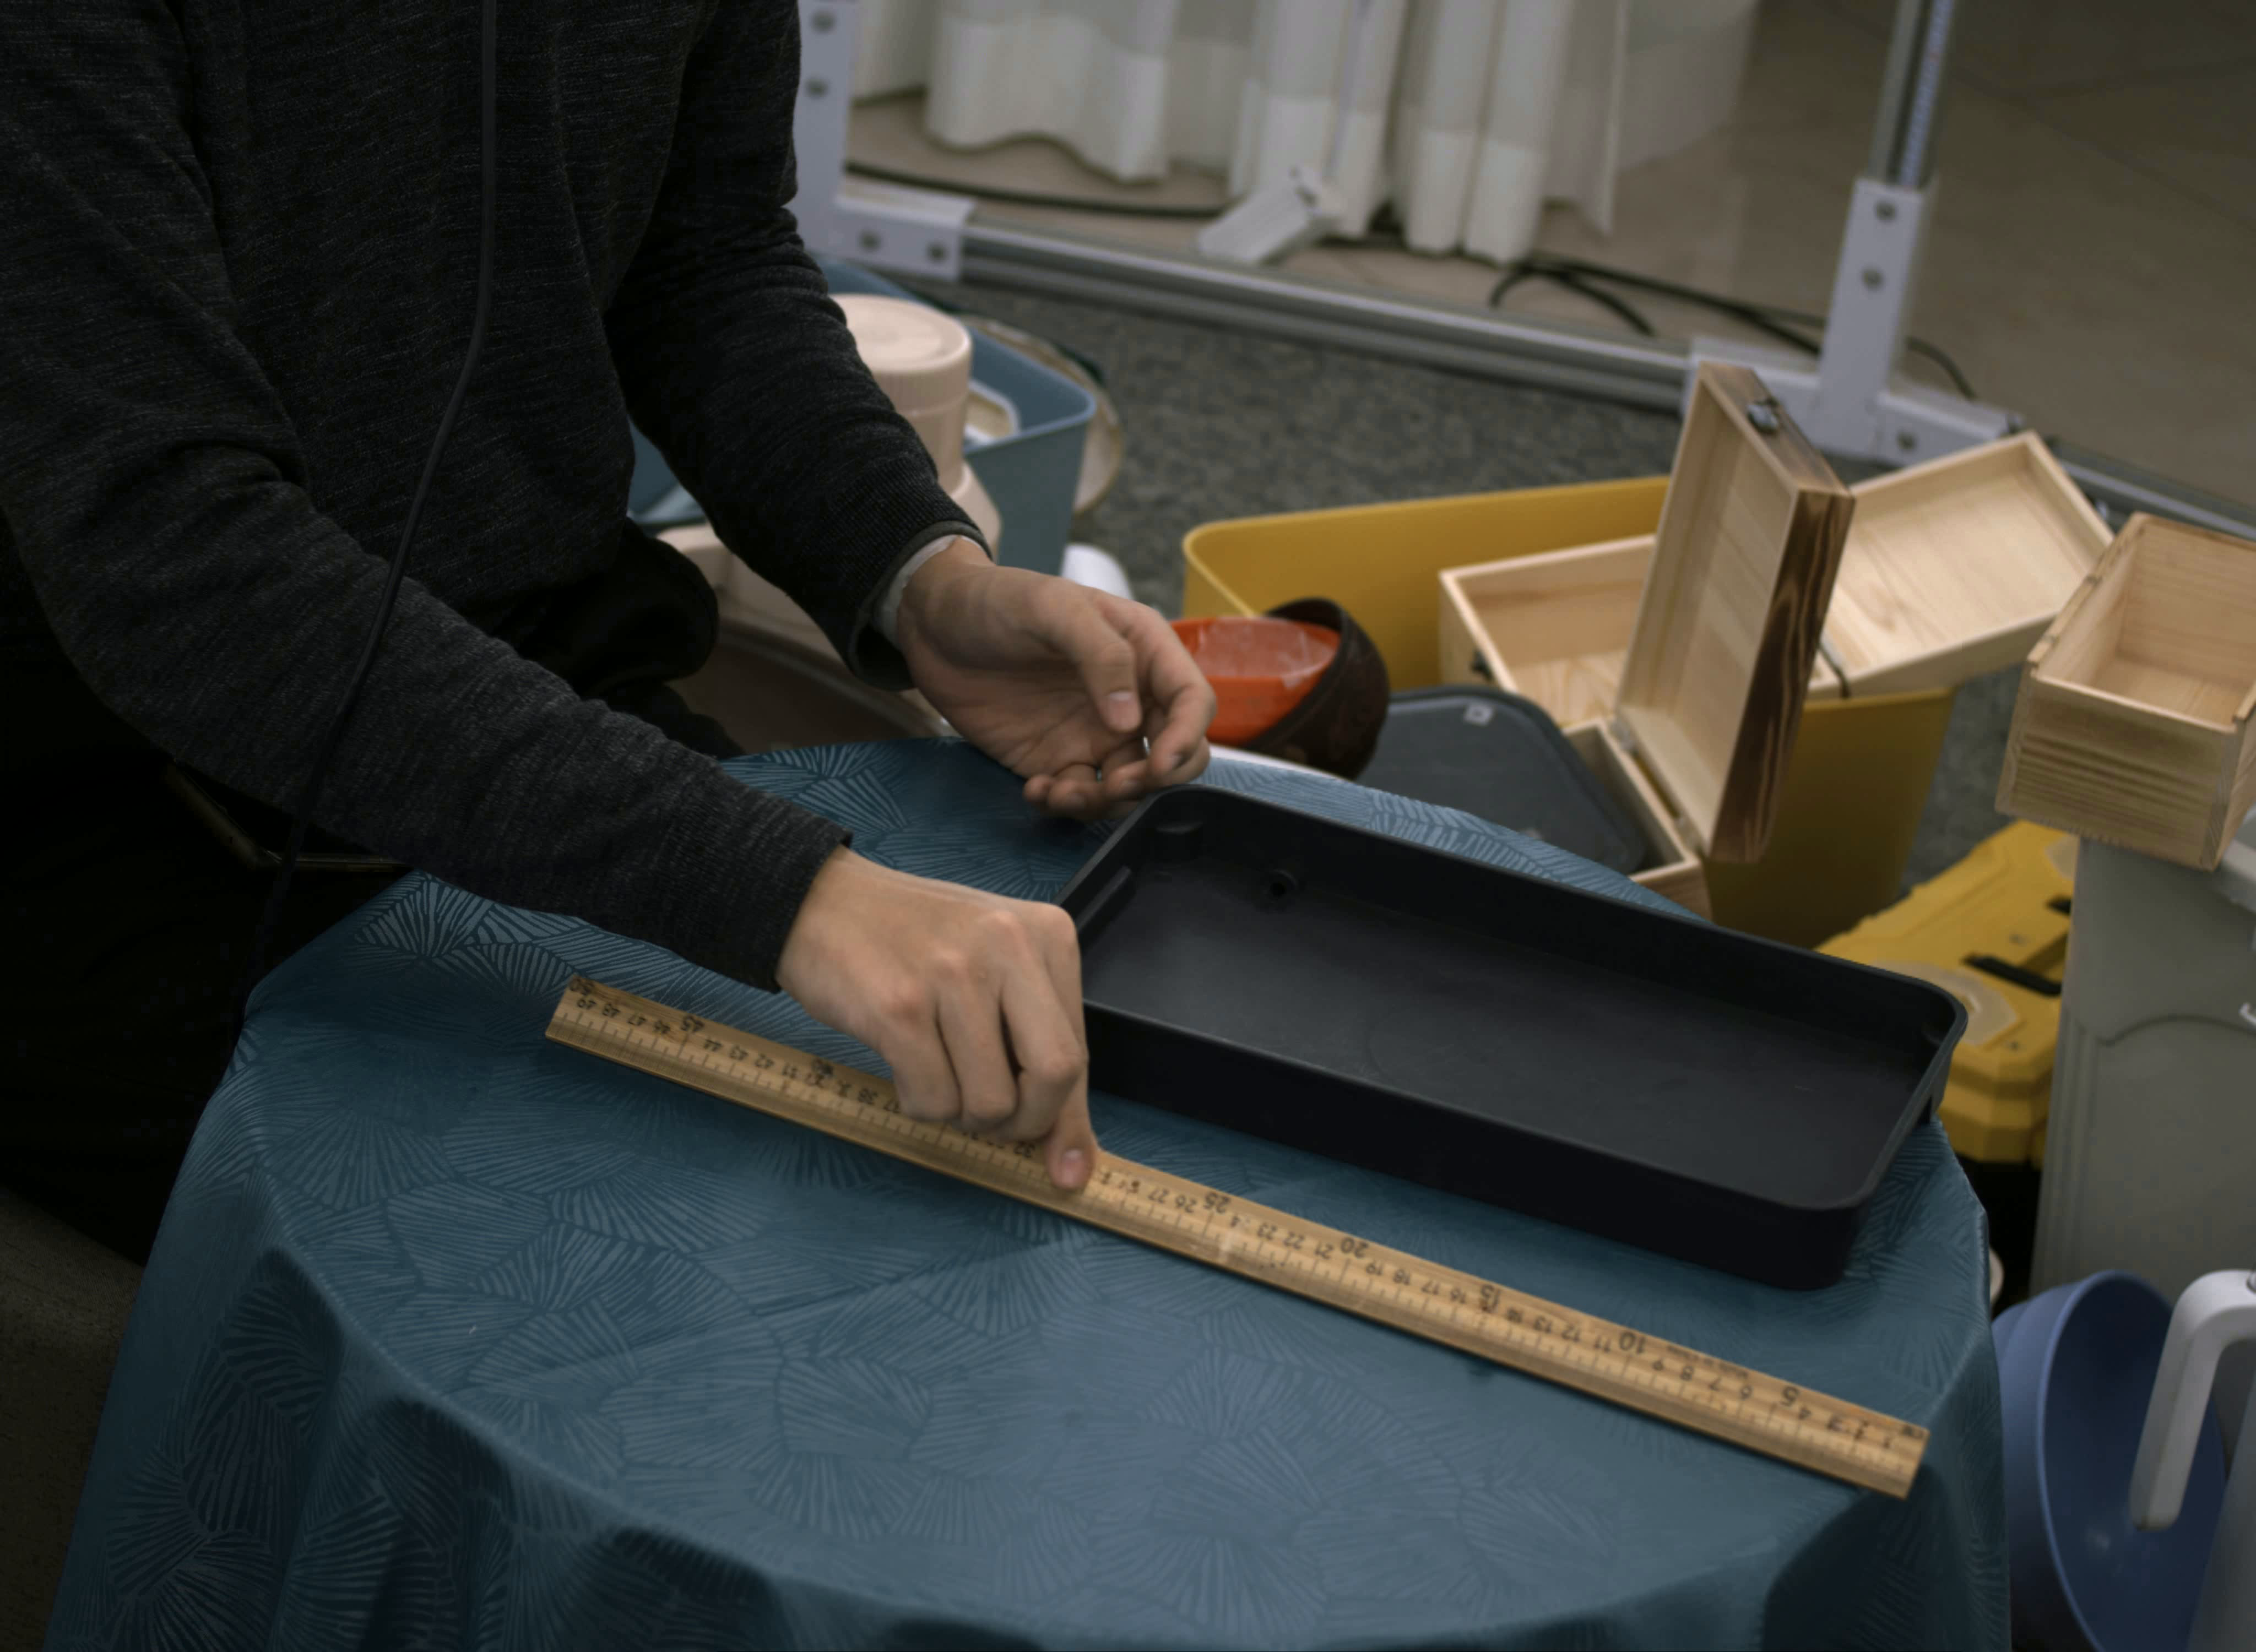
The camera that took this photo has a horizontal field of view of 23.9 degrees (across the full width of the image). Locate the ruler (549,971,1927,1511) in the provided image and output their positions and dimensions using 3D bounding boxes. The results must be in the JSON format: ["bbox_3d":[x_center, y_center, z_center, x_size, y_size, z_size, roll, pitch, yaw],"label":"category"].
[{"bbox_3d":[0.026,0.133,1.766,0.502,0.027,0.006,18,-17,21],"label":"ruler"}]

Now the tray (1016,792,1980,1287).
[{"bbox_3d":[0.132,0.072,1.893,0.318,0.037,0.184,14,28,16],"label":"tray"}]
